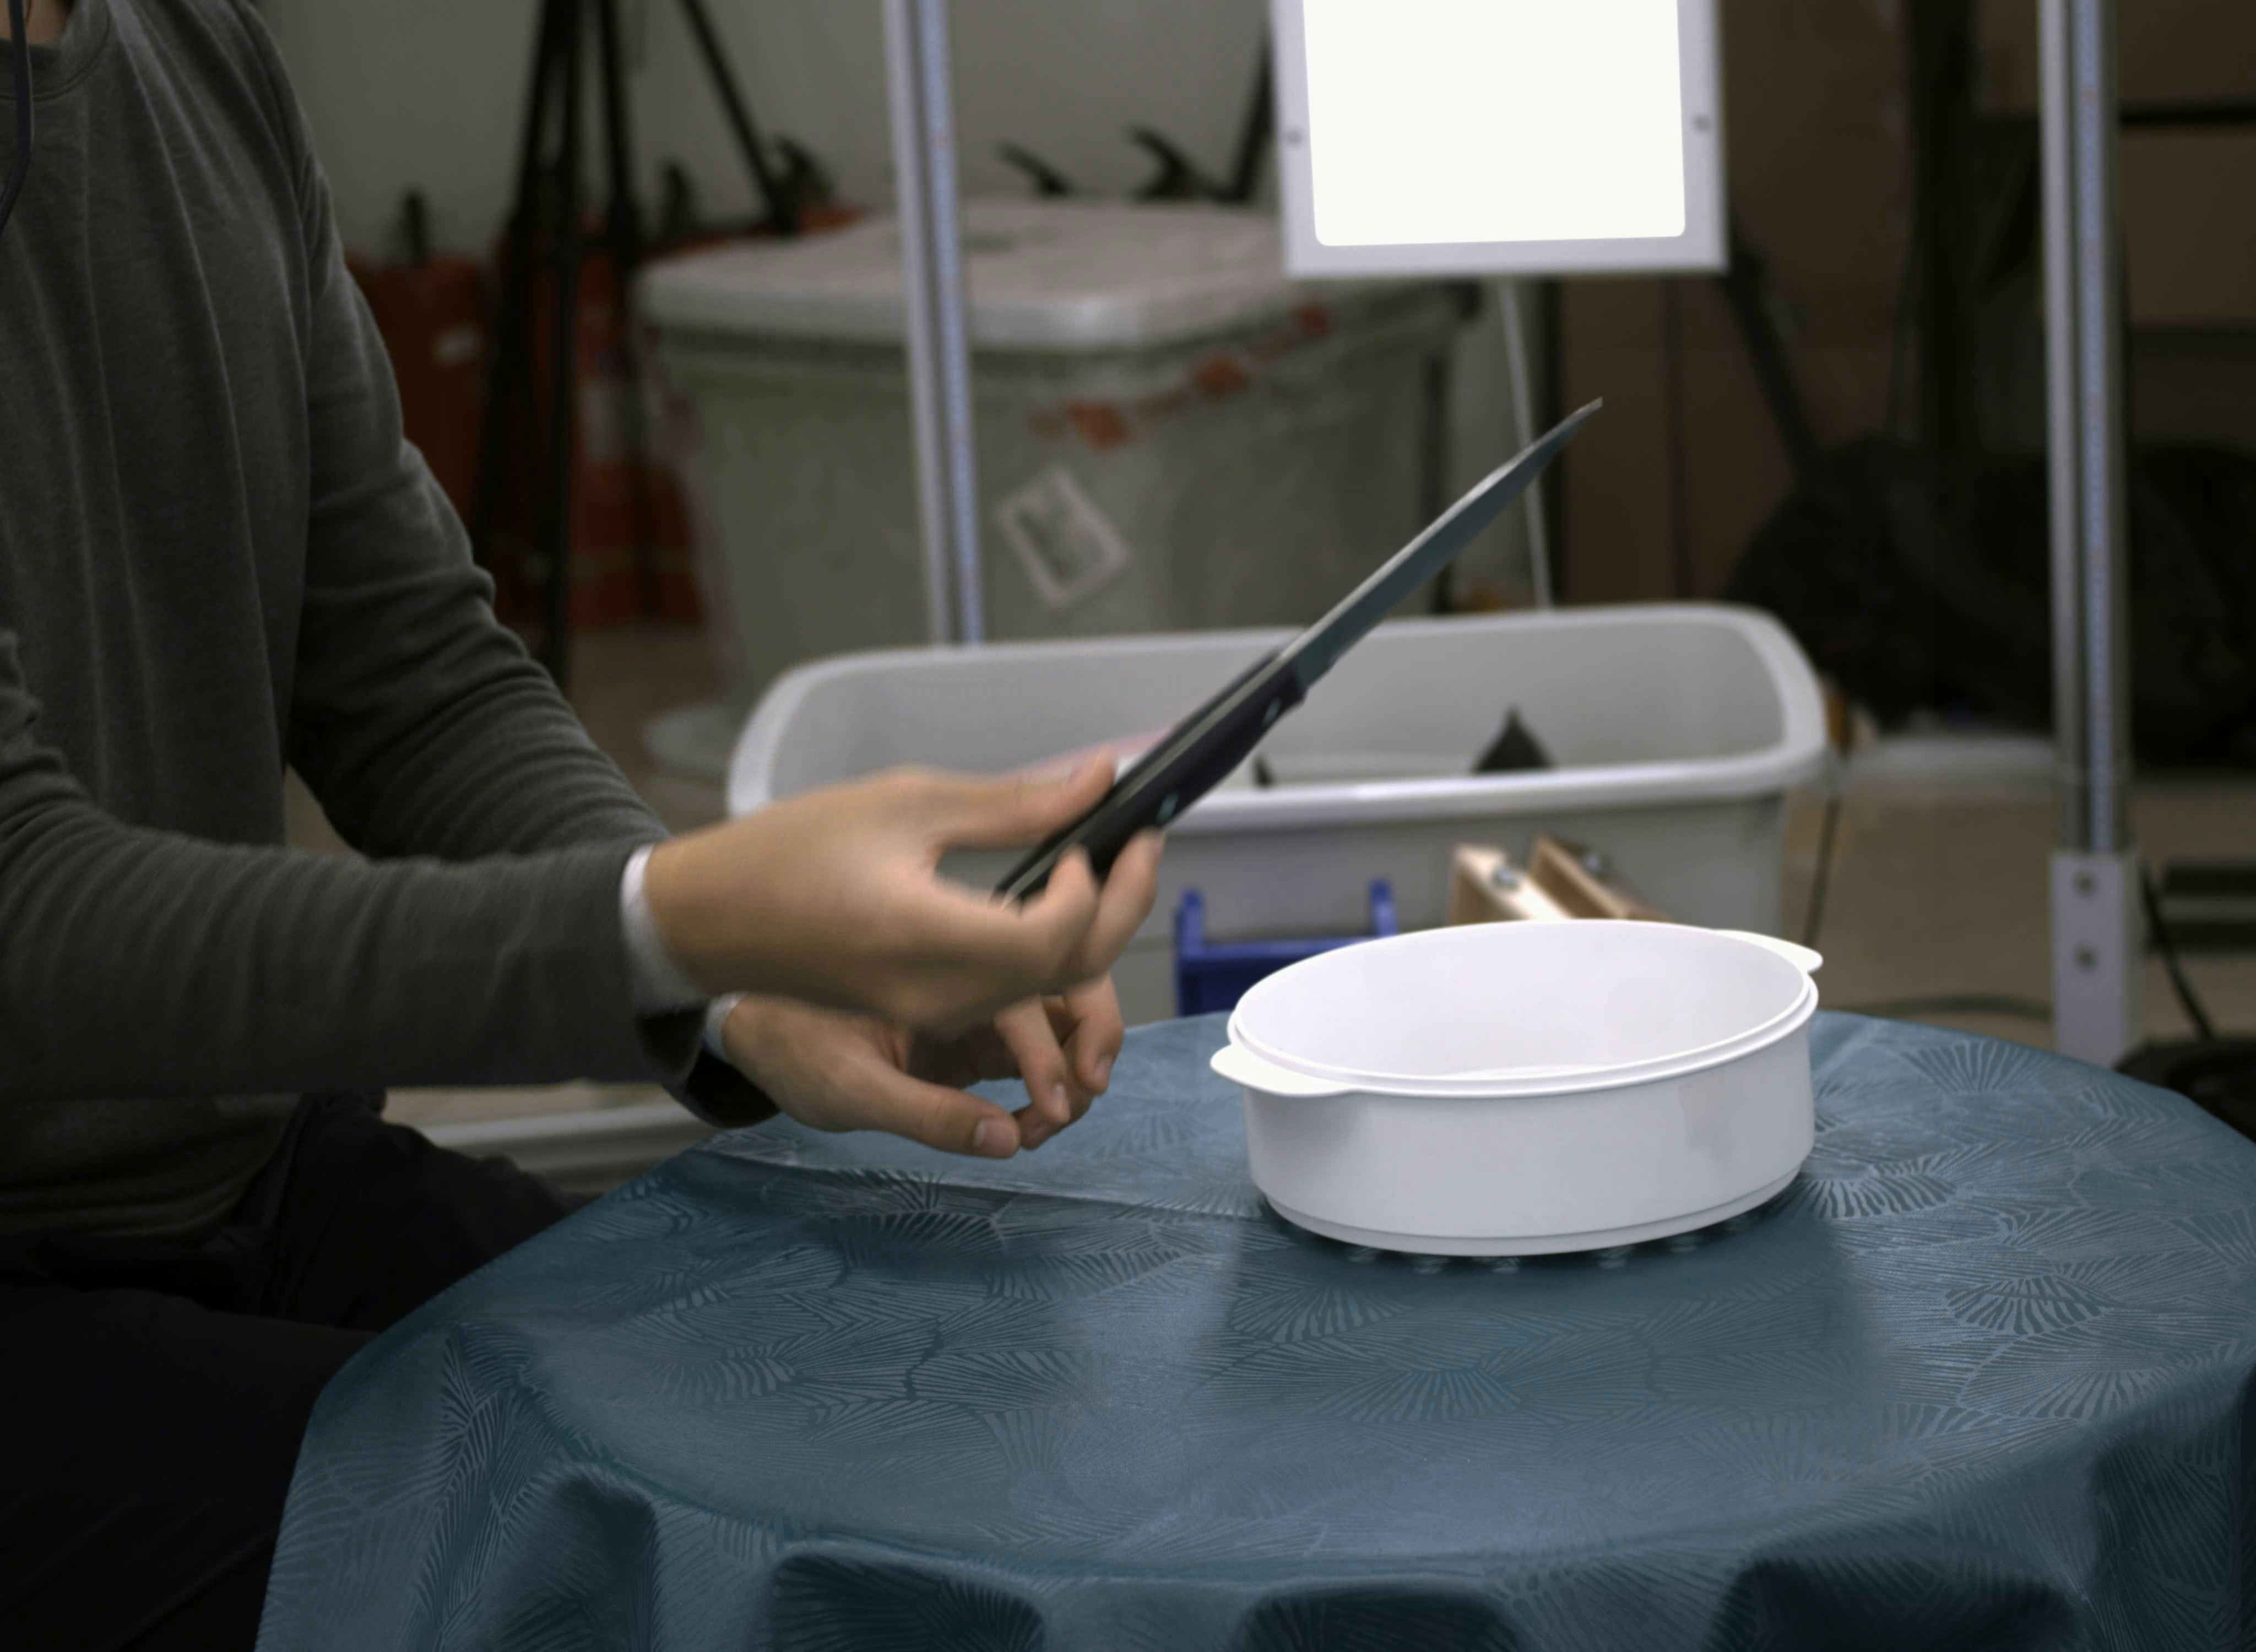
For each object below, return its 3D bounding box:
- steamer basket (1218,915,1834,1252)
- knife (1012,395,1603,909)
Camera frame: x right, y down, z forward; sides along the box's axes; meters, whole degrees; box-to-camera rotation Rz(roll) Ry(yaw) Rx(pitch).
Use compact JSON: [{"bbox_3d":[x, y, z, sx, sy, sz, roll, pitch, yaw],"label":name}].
[{"bbox_3d":[0.140,0.088,1.867,0.225,0.069,0.205,-13,15,-27],"label":"steamer basket"},{"bbox_3d":[0.056,-0.057,1.633,0.236,0.024,0.016,-40,58,-11],"label":"knife"}]
